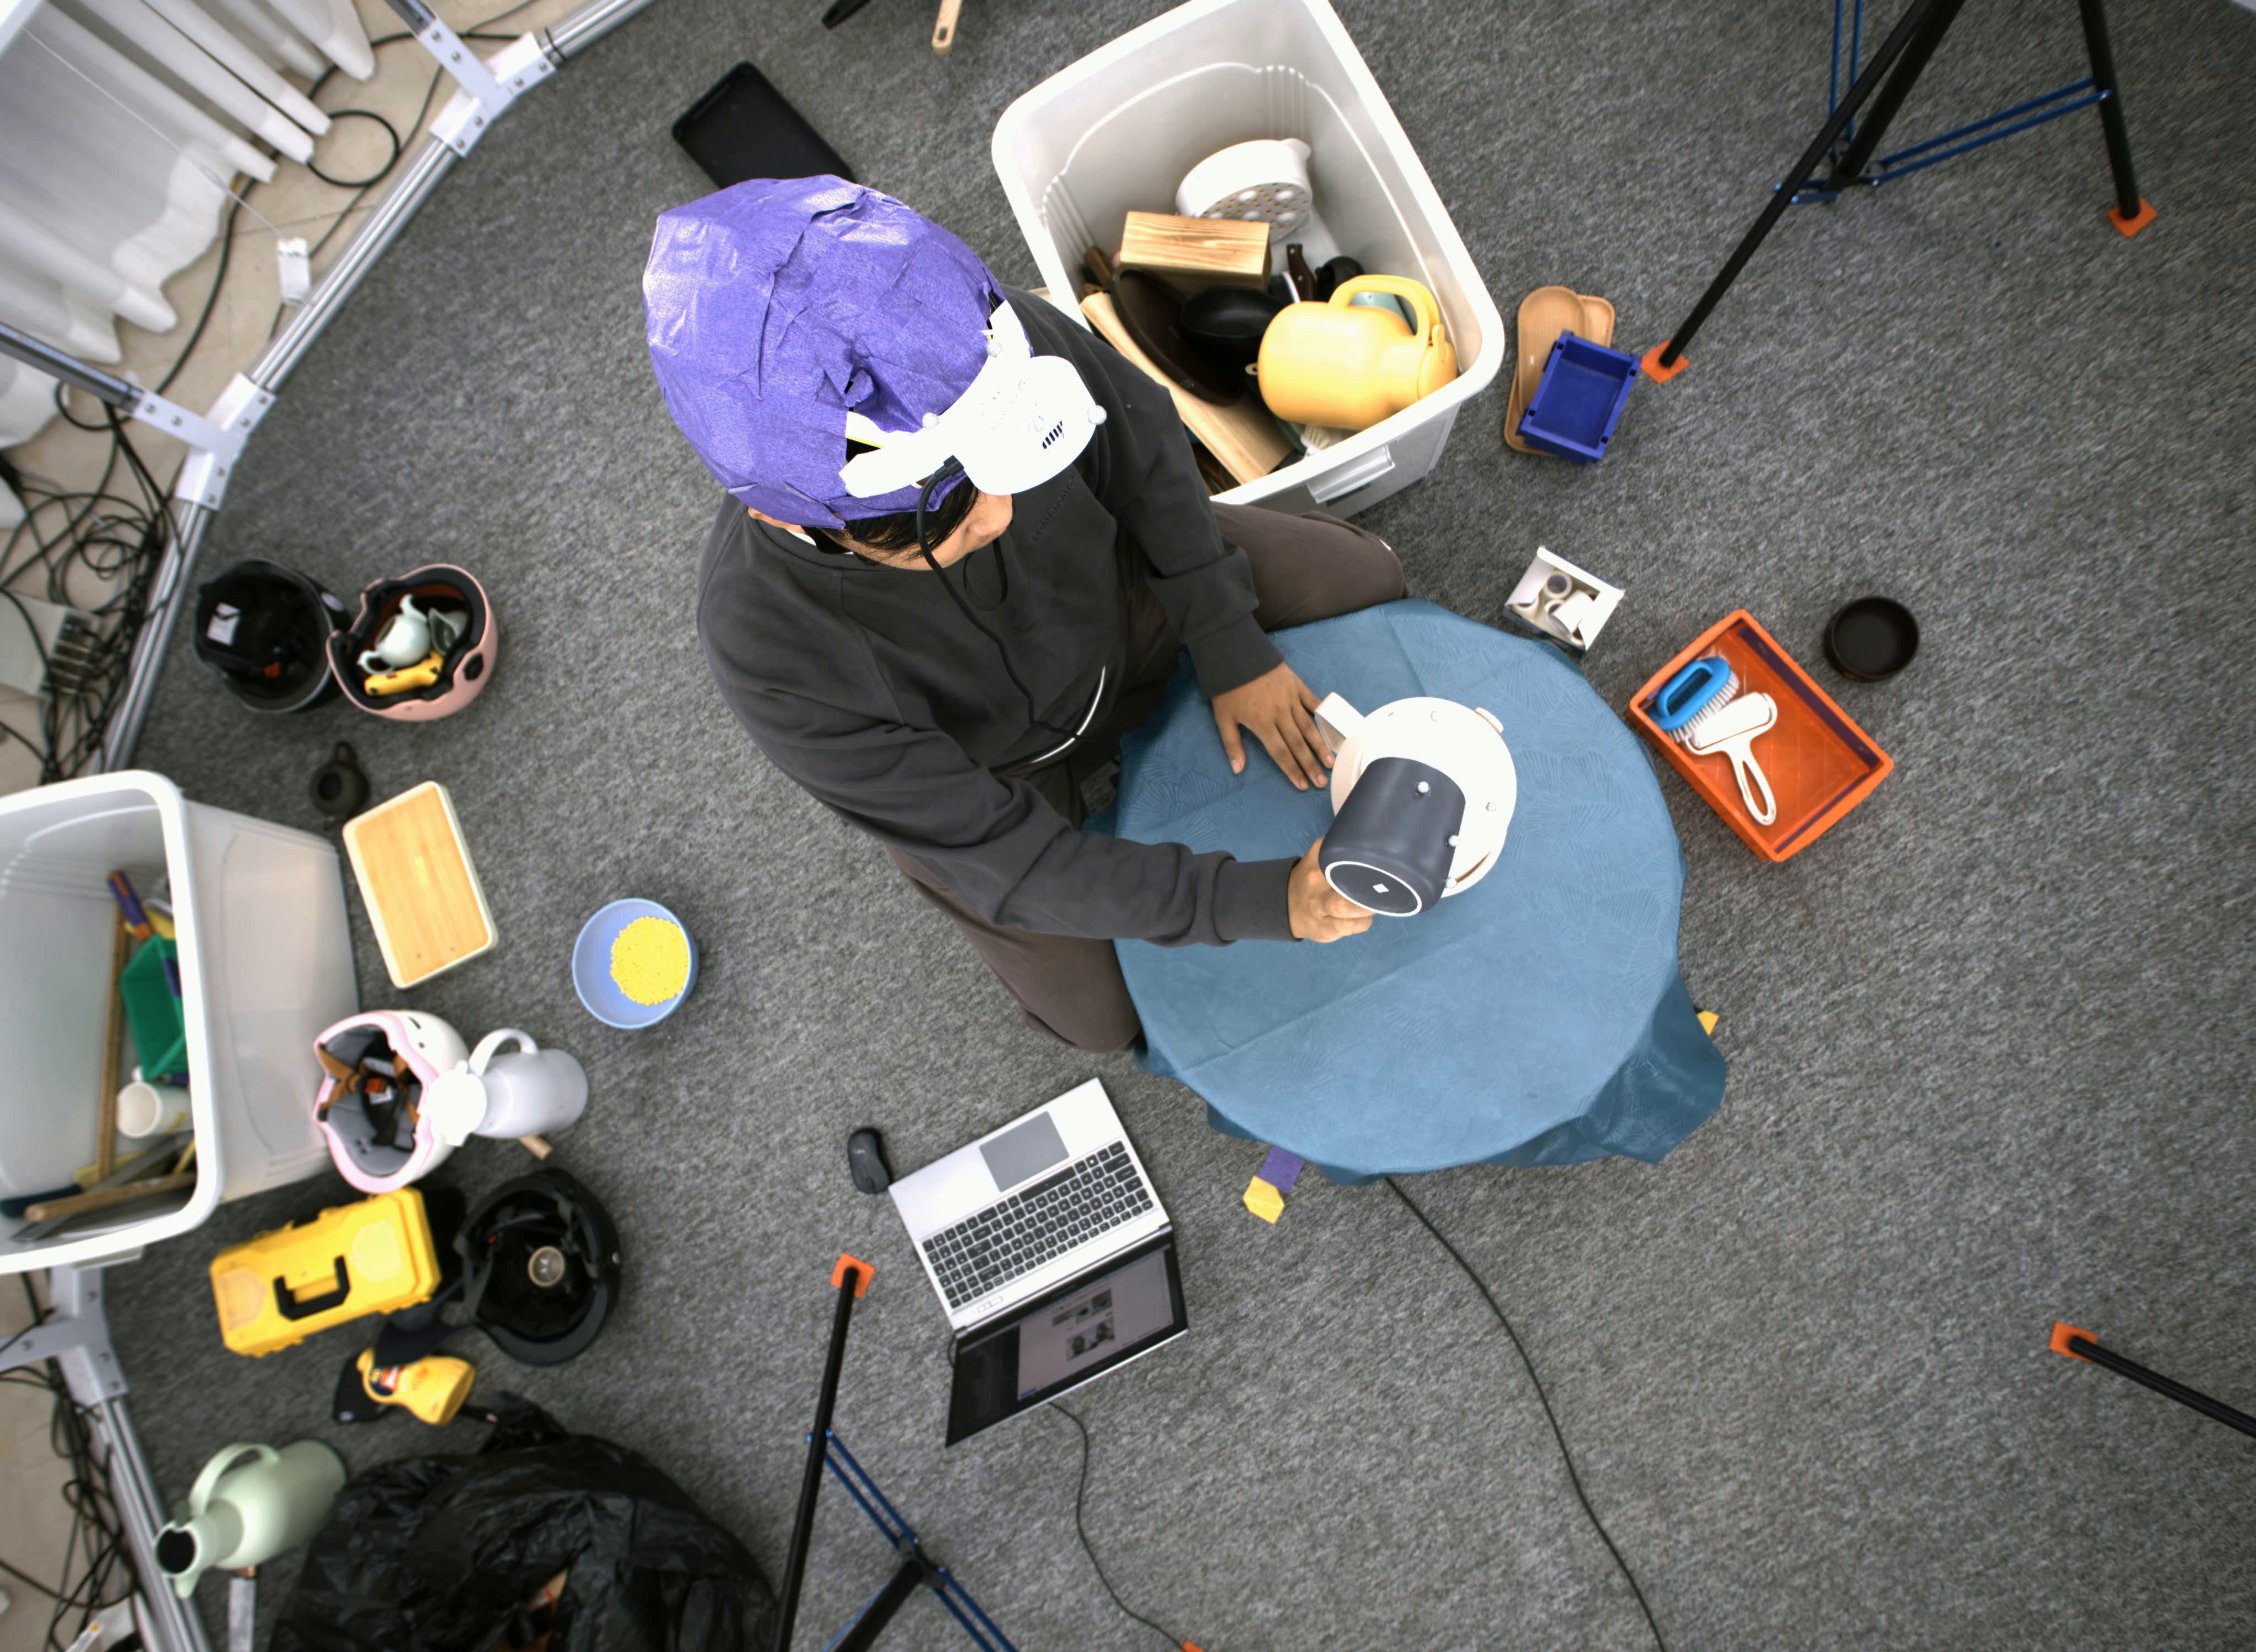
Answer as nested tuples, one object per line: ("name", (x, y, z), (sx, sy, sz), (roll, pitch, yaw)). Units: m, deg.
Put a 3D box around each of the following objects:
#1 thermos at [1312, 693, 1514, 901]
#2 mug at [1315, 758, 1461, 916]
("thermos", (0.255, -0.032, 1.268), (0.206, 0.407, 0.176), (43, 92, 11))
("mug", (0.191, 0.014, 1.022), (0.093, 0.125, 0.088), (25, 69, 4))
